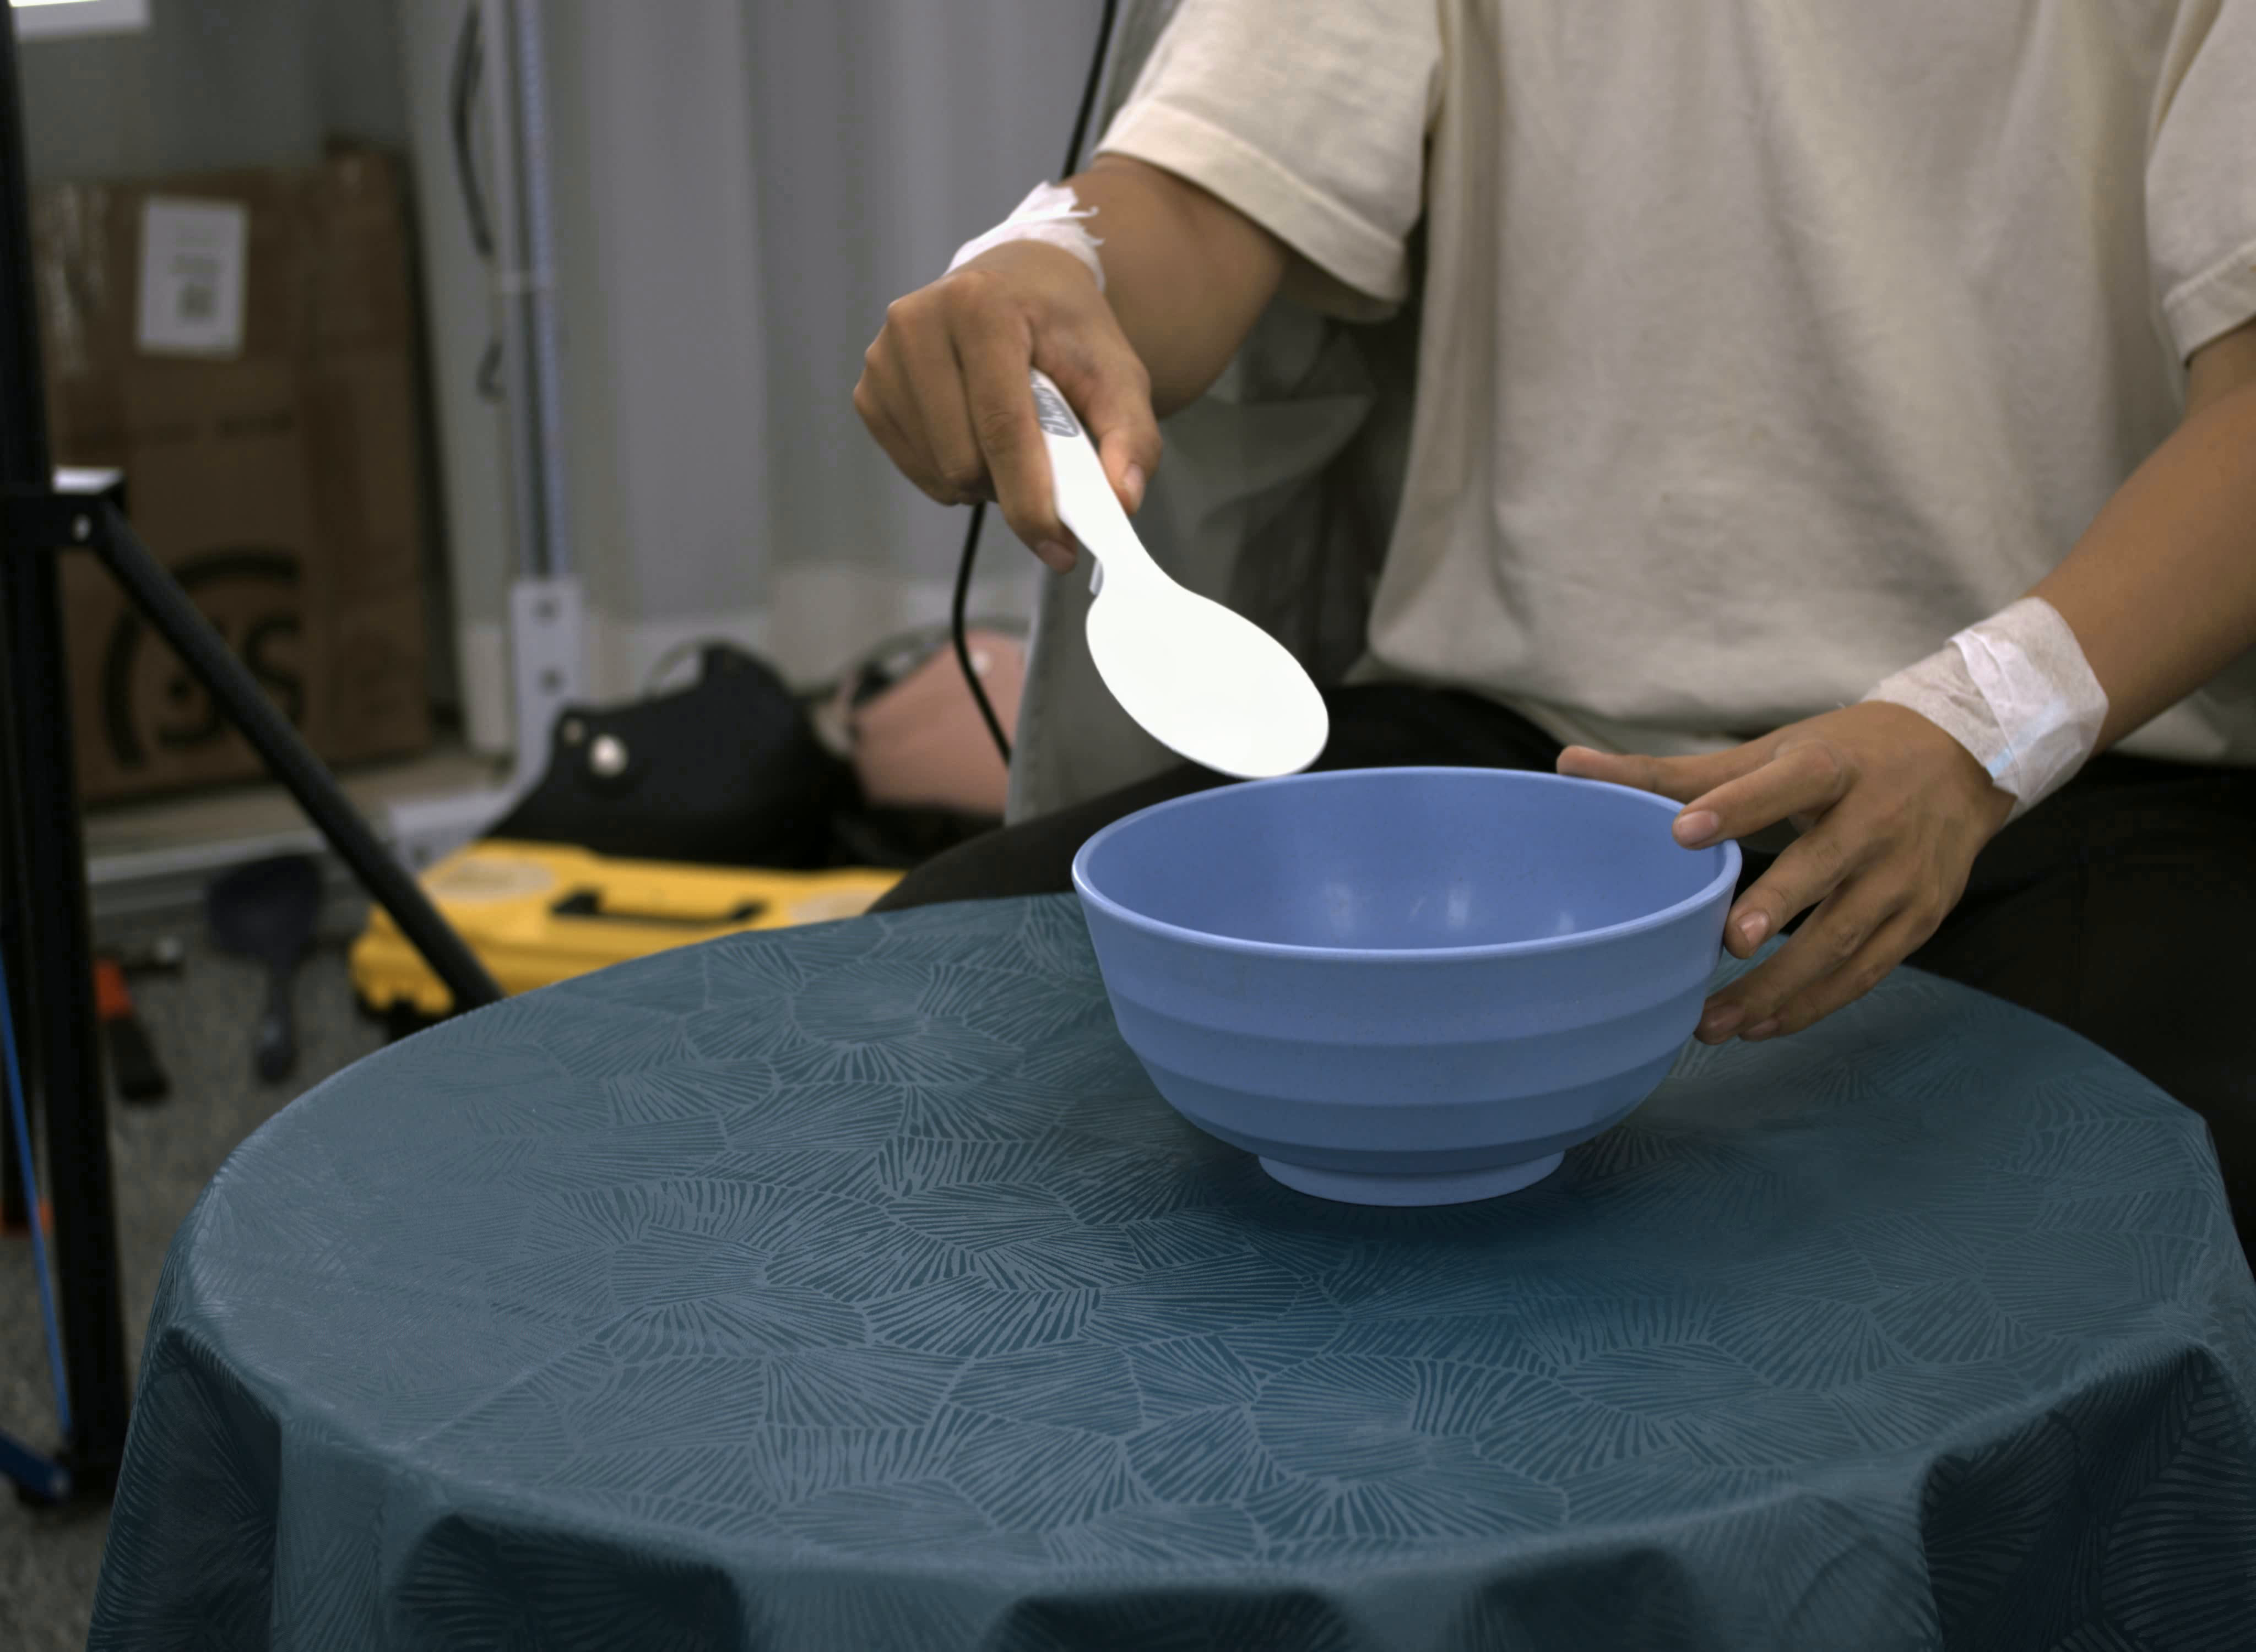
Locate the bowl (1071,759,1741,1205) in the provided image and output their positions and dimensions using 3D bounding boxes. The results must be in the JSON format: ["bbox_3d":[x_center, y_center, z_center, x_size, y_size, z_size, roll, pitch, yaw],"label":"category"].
[{"bbox_3d":[0.083,0.052,1.564,0.195,0.095,0.197,-4,17,0],"label":"bowl"}]

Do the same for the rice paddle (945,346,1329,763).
[{"bbox_3d":[-0.001,-0.081,1.621,0.067,0.029,0.209,-6,38,-26],"label":"rice paddle"}]
